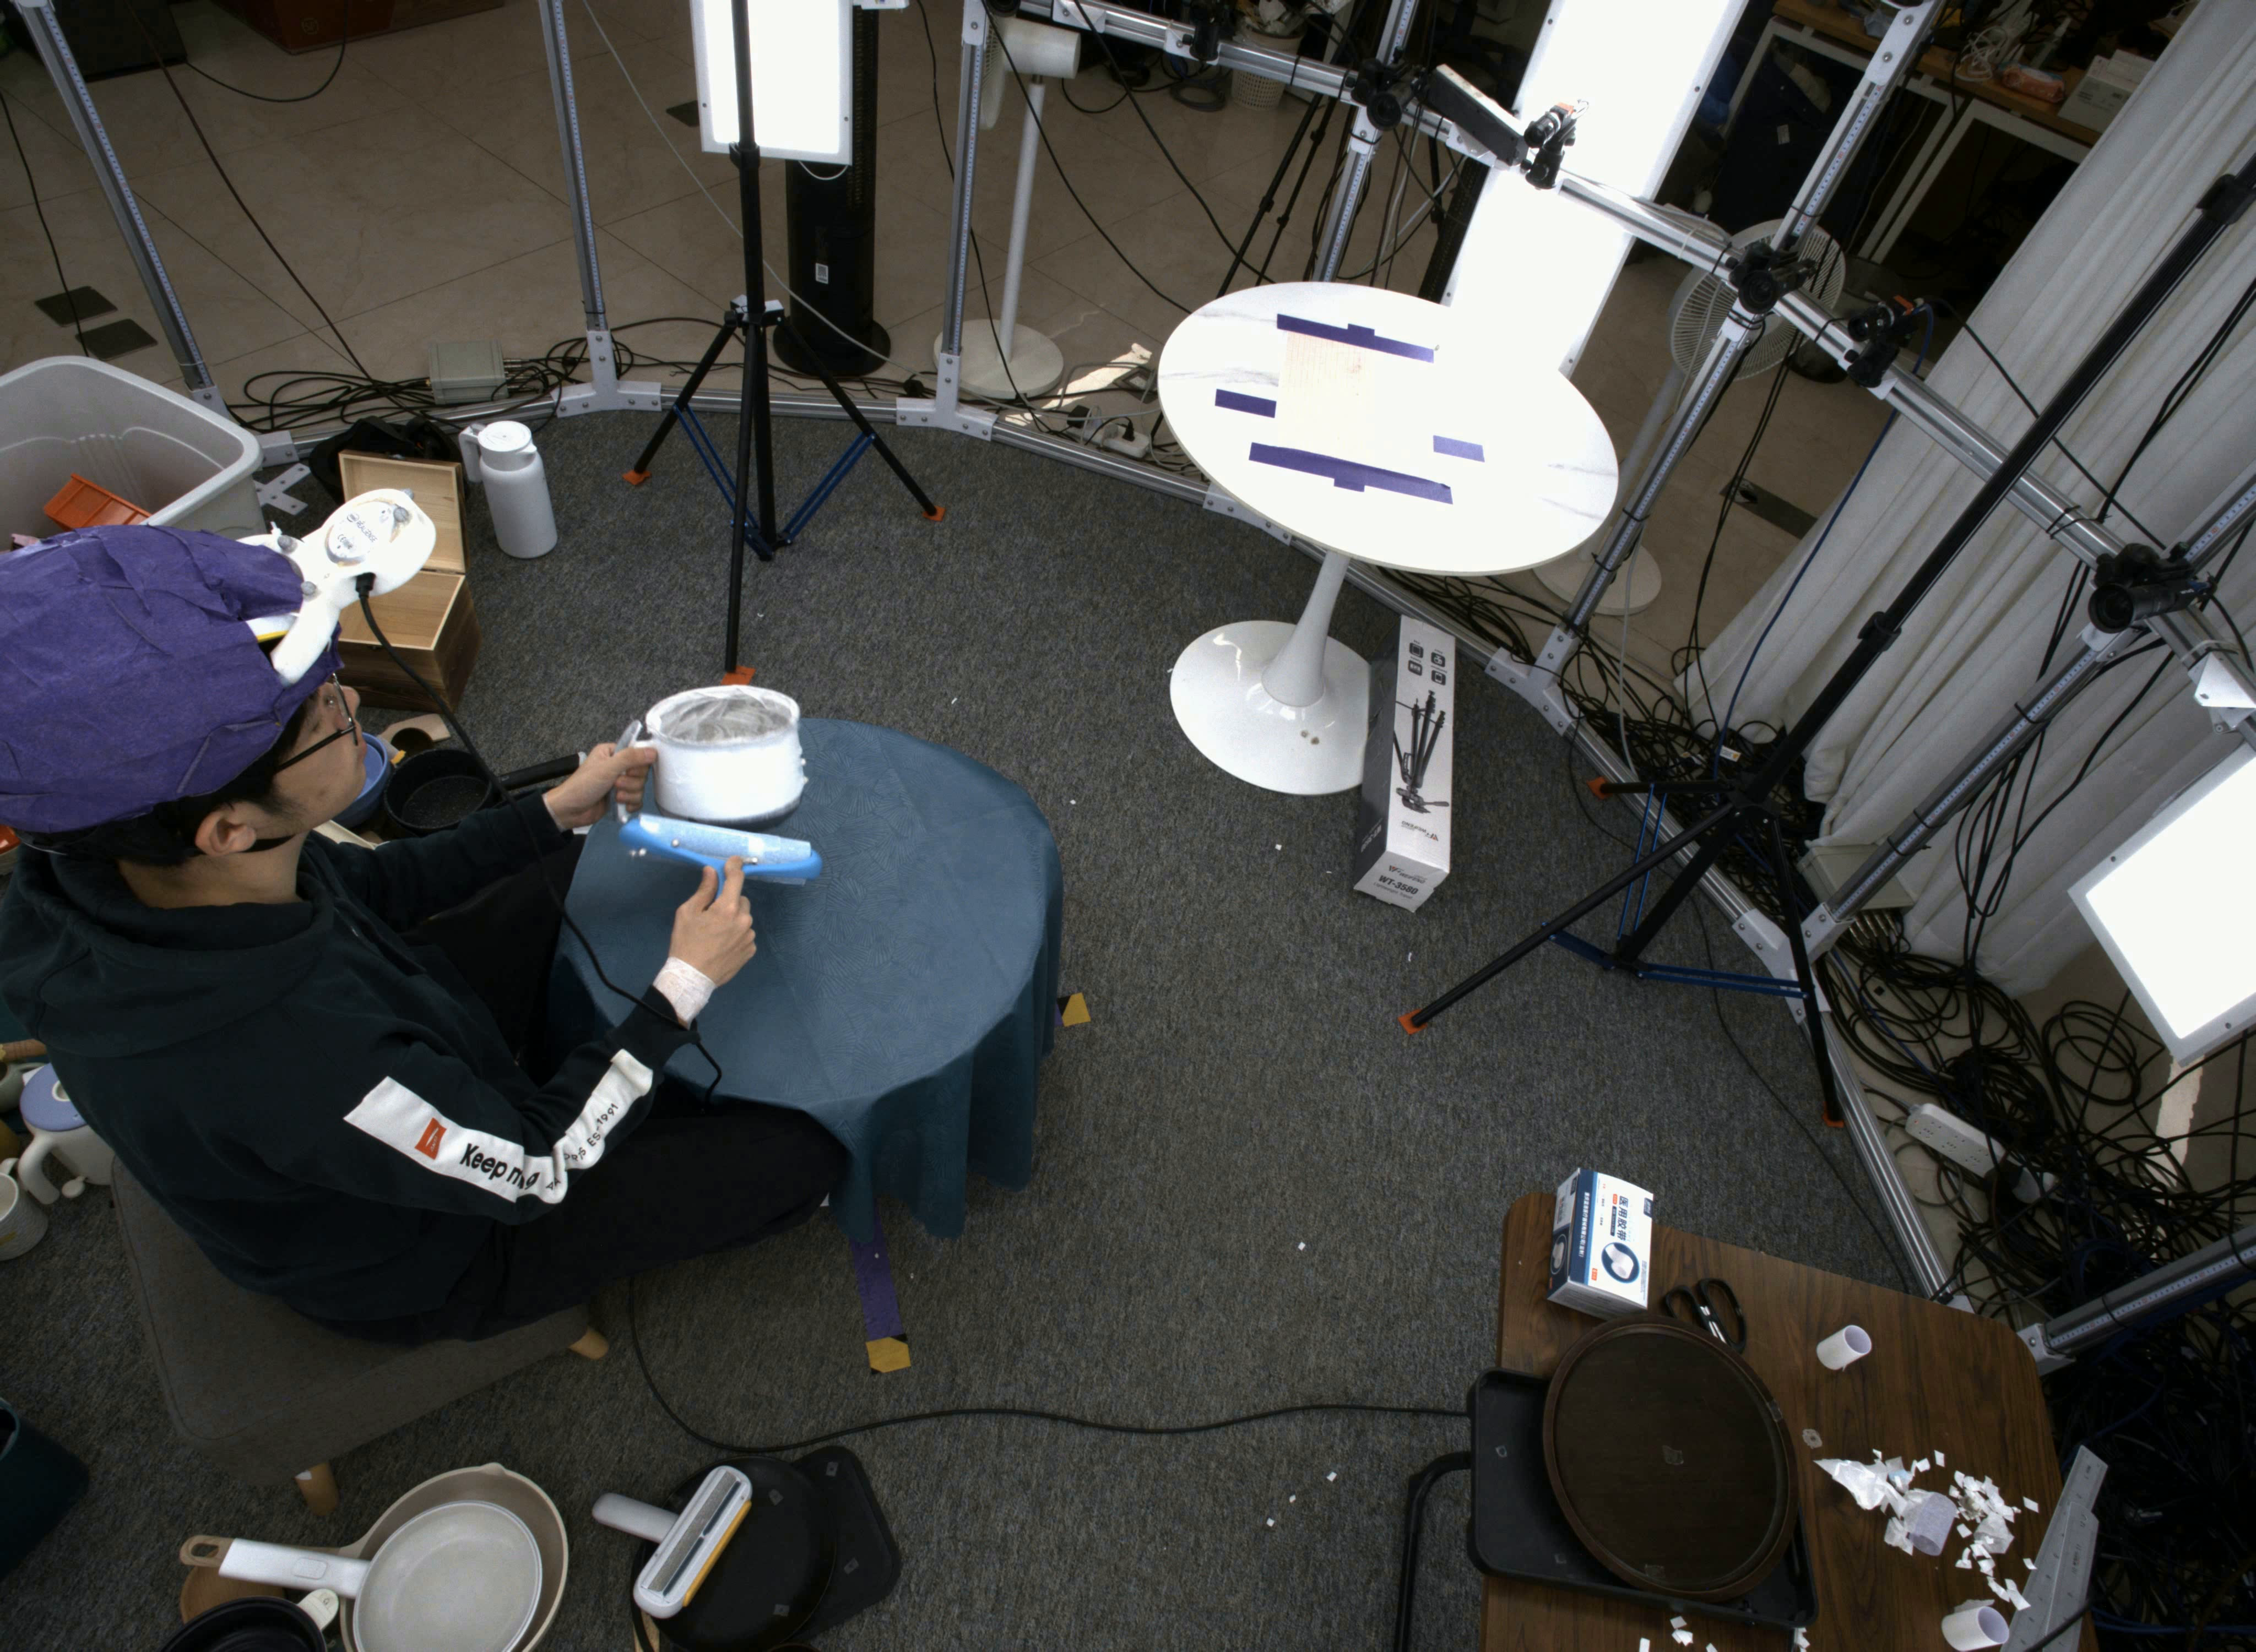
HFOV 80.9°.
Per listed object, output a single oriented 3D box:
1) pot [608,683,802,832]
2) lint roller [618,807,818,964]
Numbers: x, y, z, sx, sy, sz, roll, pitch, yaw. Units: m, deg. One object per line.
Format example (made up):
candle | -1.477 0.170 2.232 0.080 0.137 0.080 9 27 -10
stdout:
pot | -0.506 -0.074 1.533 0.236 0.140 0.172 -9 31 -27
lint roller | -0.452 0.063 1.437 0.234 0.068 0.175 12 41 -32
